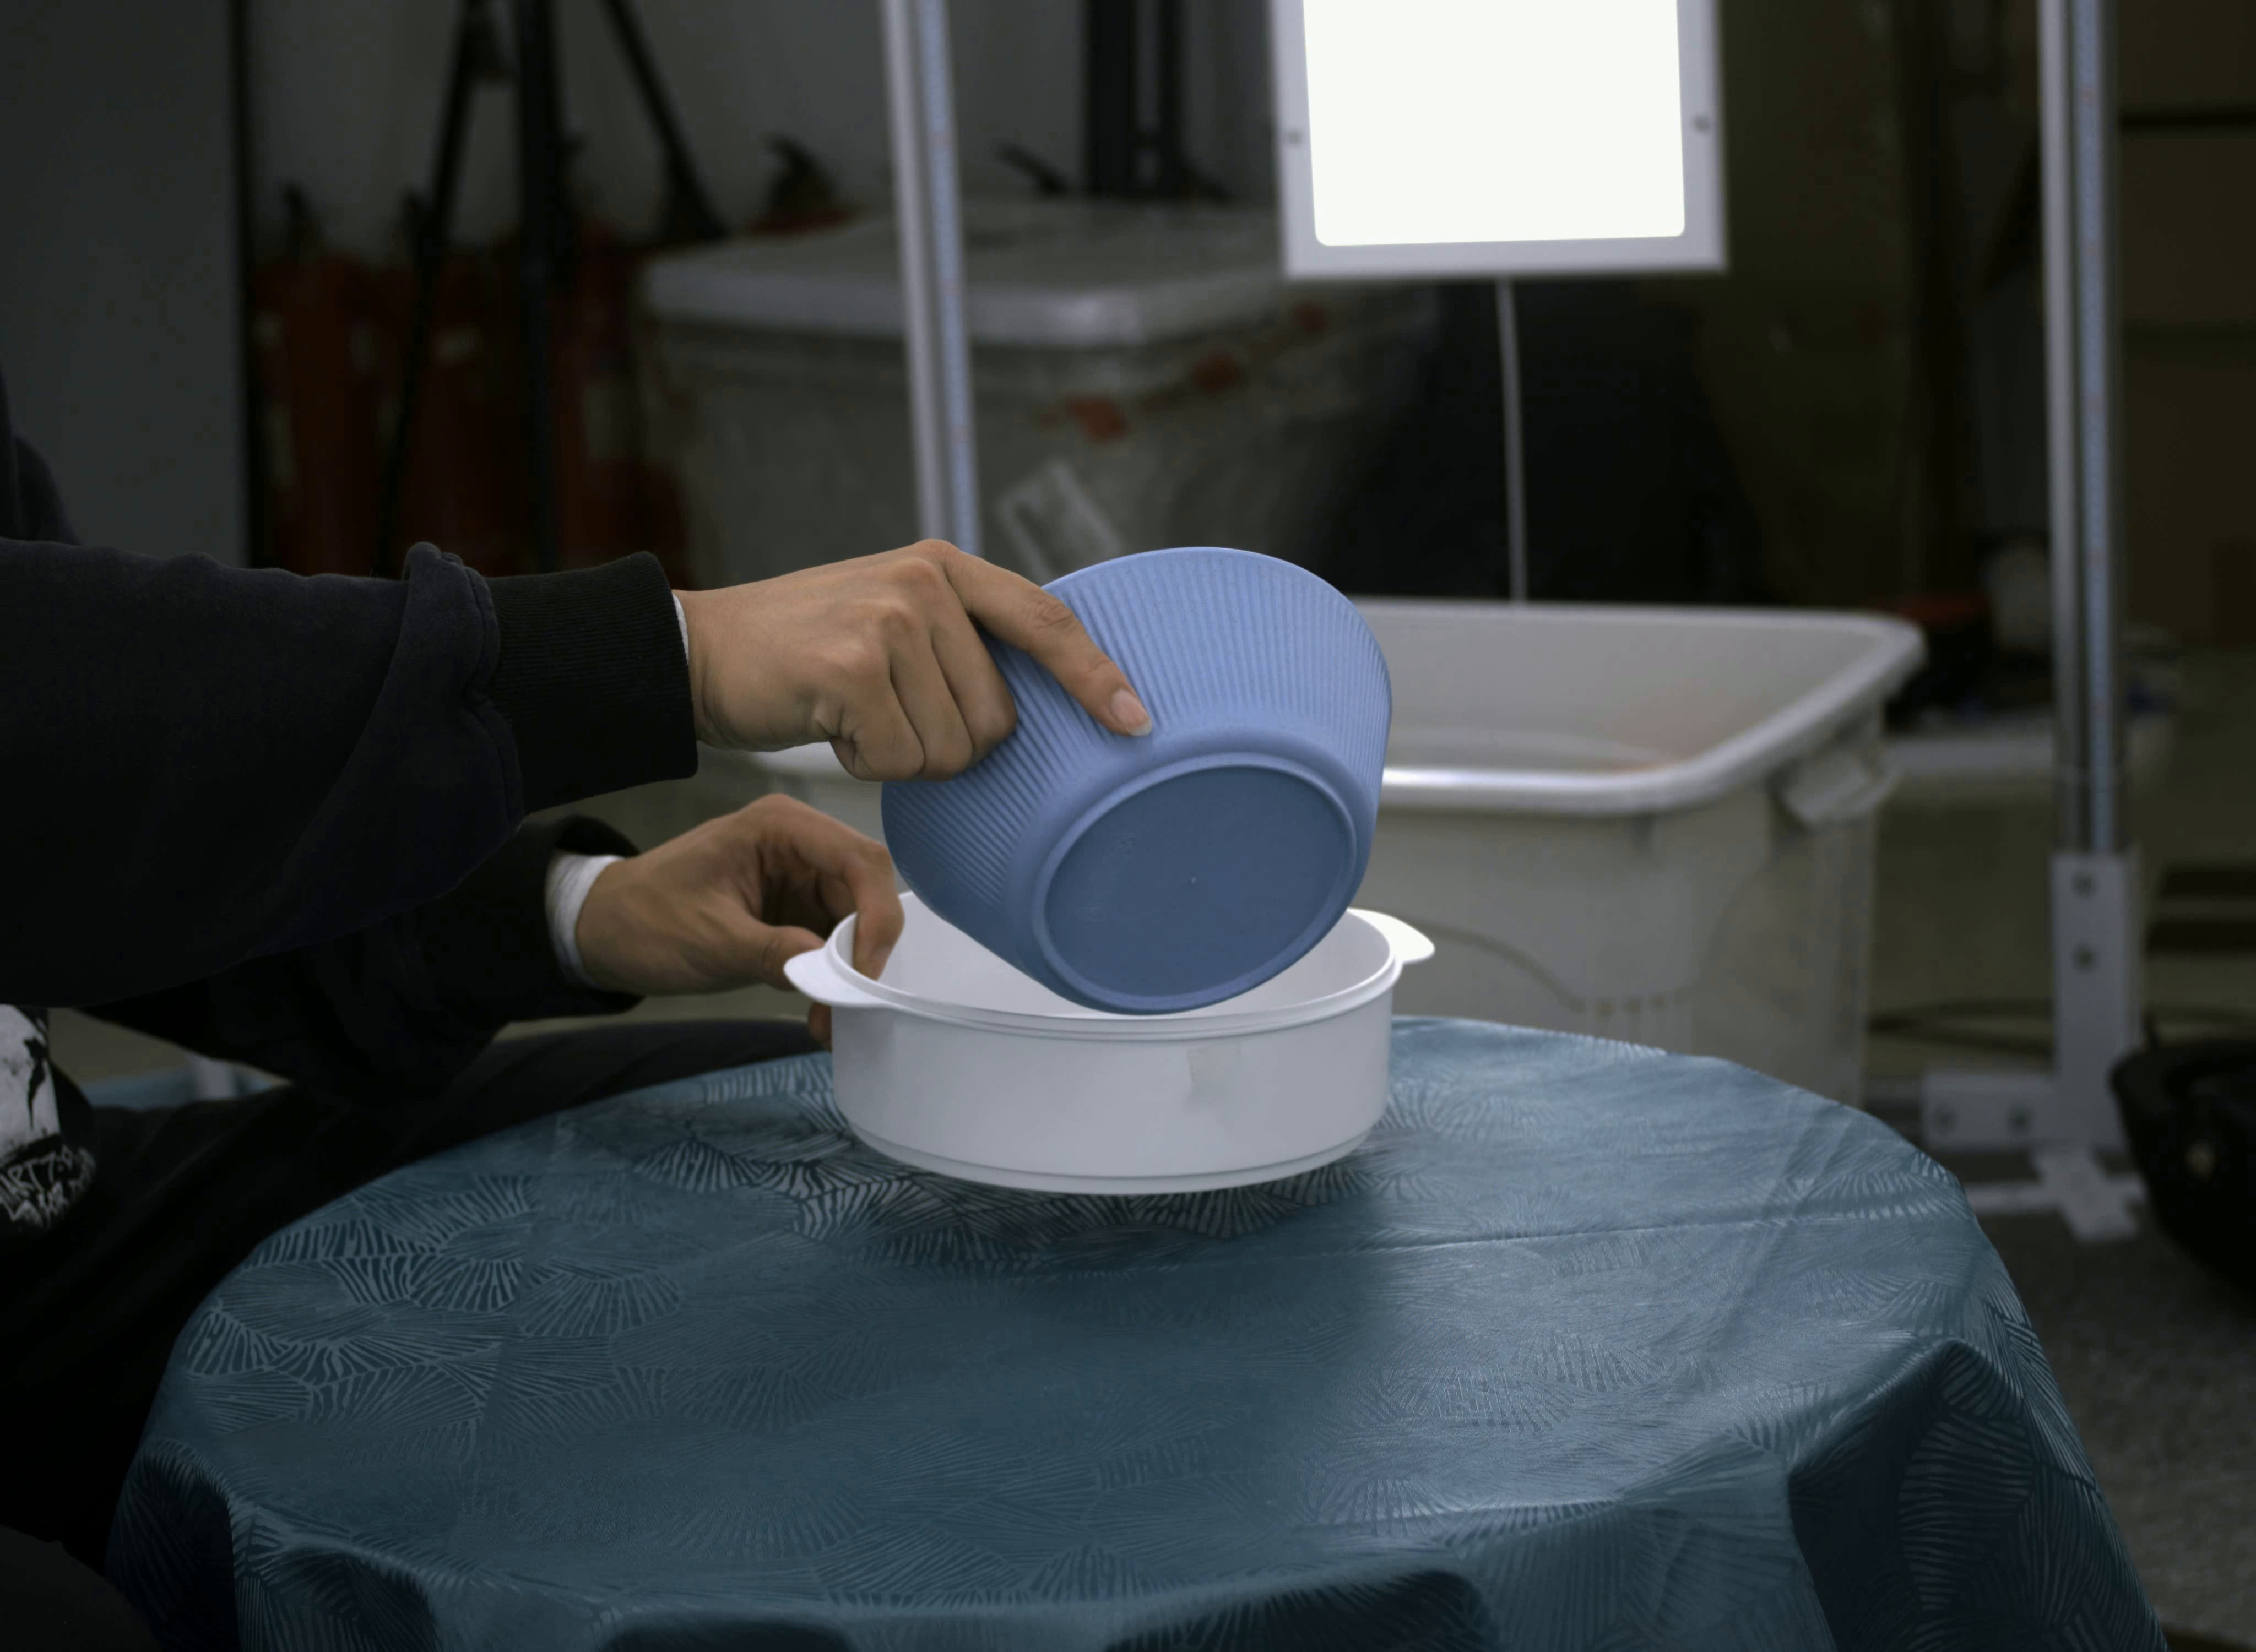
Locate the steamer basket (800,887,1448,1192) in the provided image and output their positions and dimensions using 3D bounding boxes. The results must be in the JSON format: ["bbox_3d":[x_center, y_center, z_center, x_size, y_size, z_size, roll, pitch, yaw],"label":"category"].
[{"bbox_3d":[-0.001,0.071,1.912,0.226,0.069,0.204,-2,14,-19],"label":"steamer basket"}]

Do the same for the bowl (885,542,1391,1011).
[{"bbox_3d":[0.013,-0.004,1.785,0.173,0.177,0.071,-7,44,-15],"label":"bowl"}]
